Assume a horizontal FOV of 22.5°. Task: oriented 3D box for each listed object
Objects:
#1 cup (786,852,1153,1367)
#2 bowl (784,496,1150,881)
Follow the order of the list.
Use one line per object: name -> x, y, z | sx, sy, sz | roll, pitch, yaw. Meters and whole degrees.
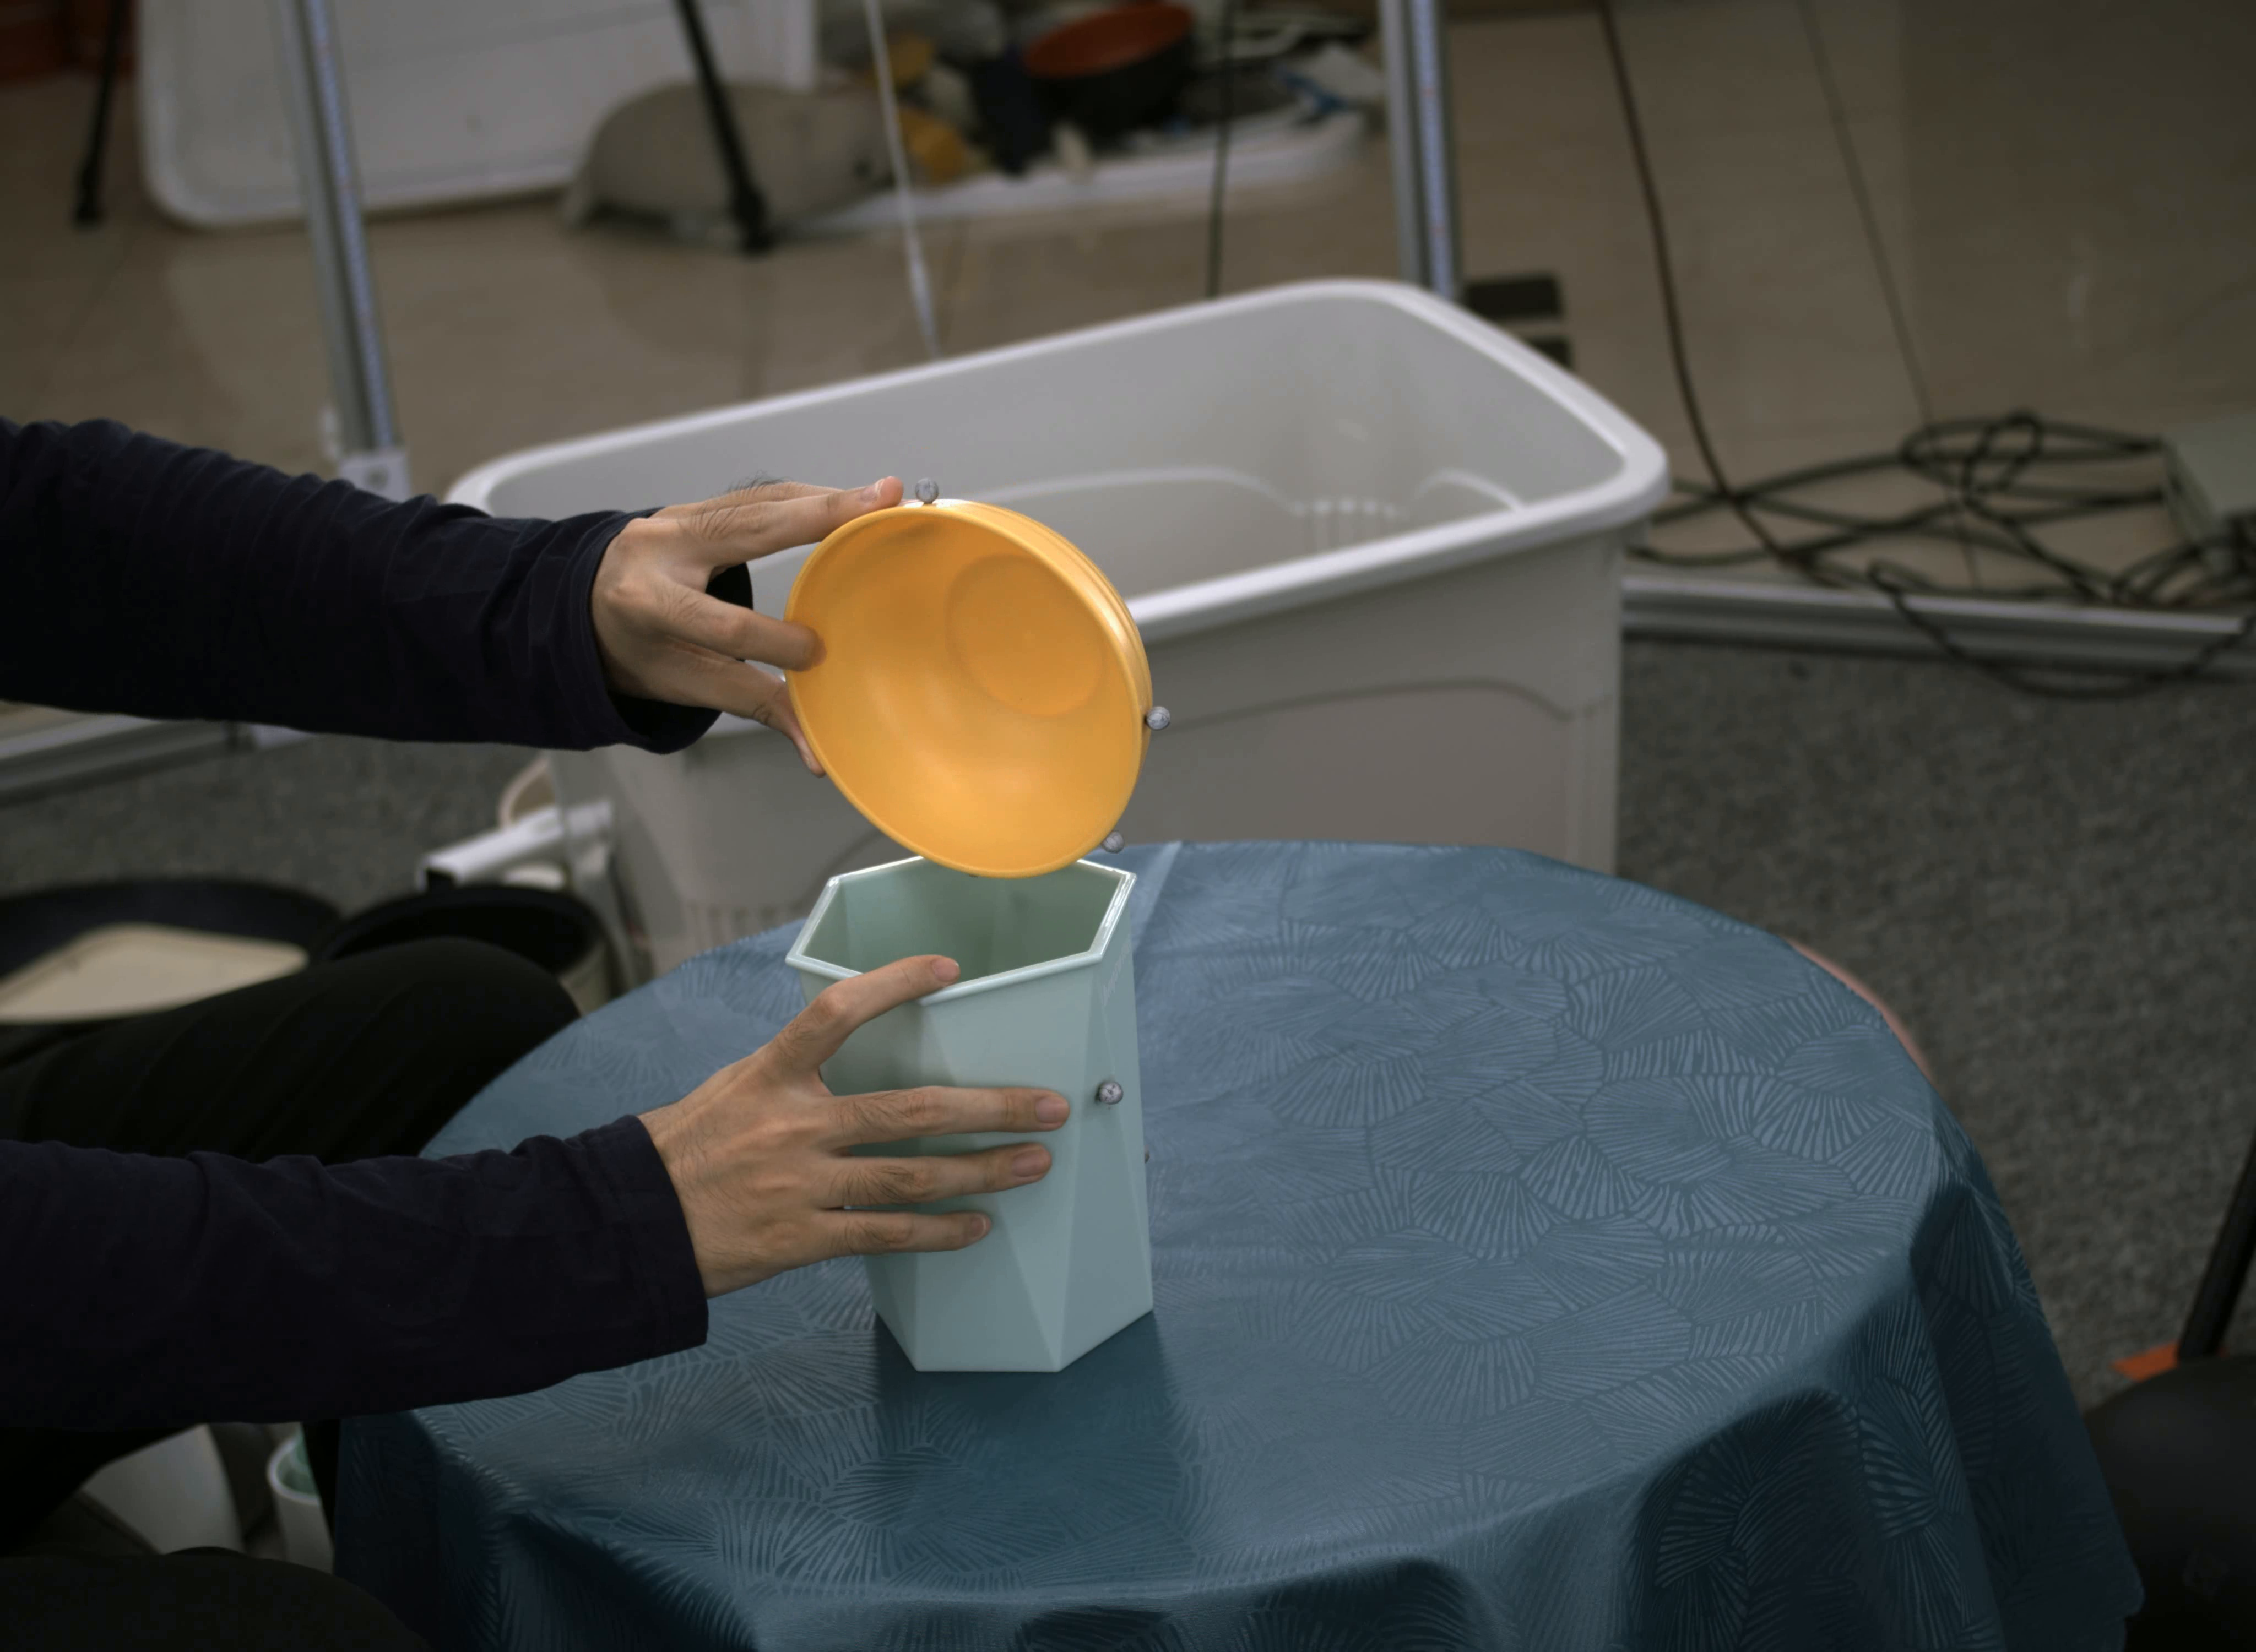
cup -> -0.049, 0.102, 2.041 | 0.115, 0.165, 0.129 | -2, 25, 12
bowl -> -0.046, -0.058, 2.011 | 0.144, 0.147, 0.059 | 8, 29, 28
